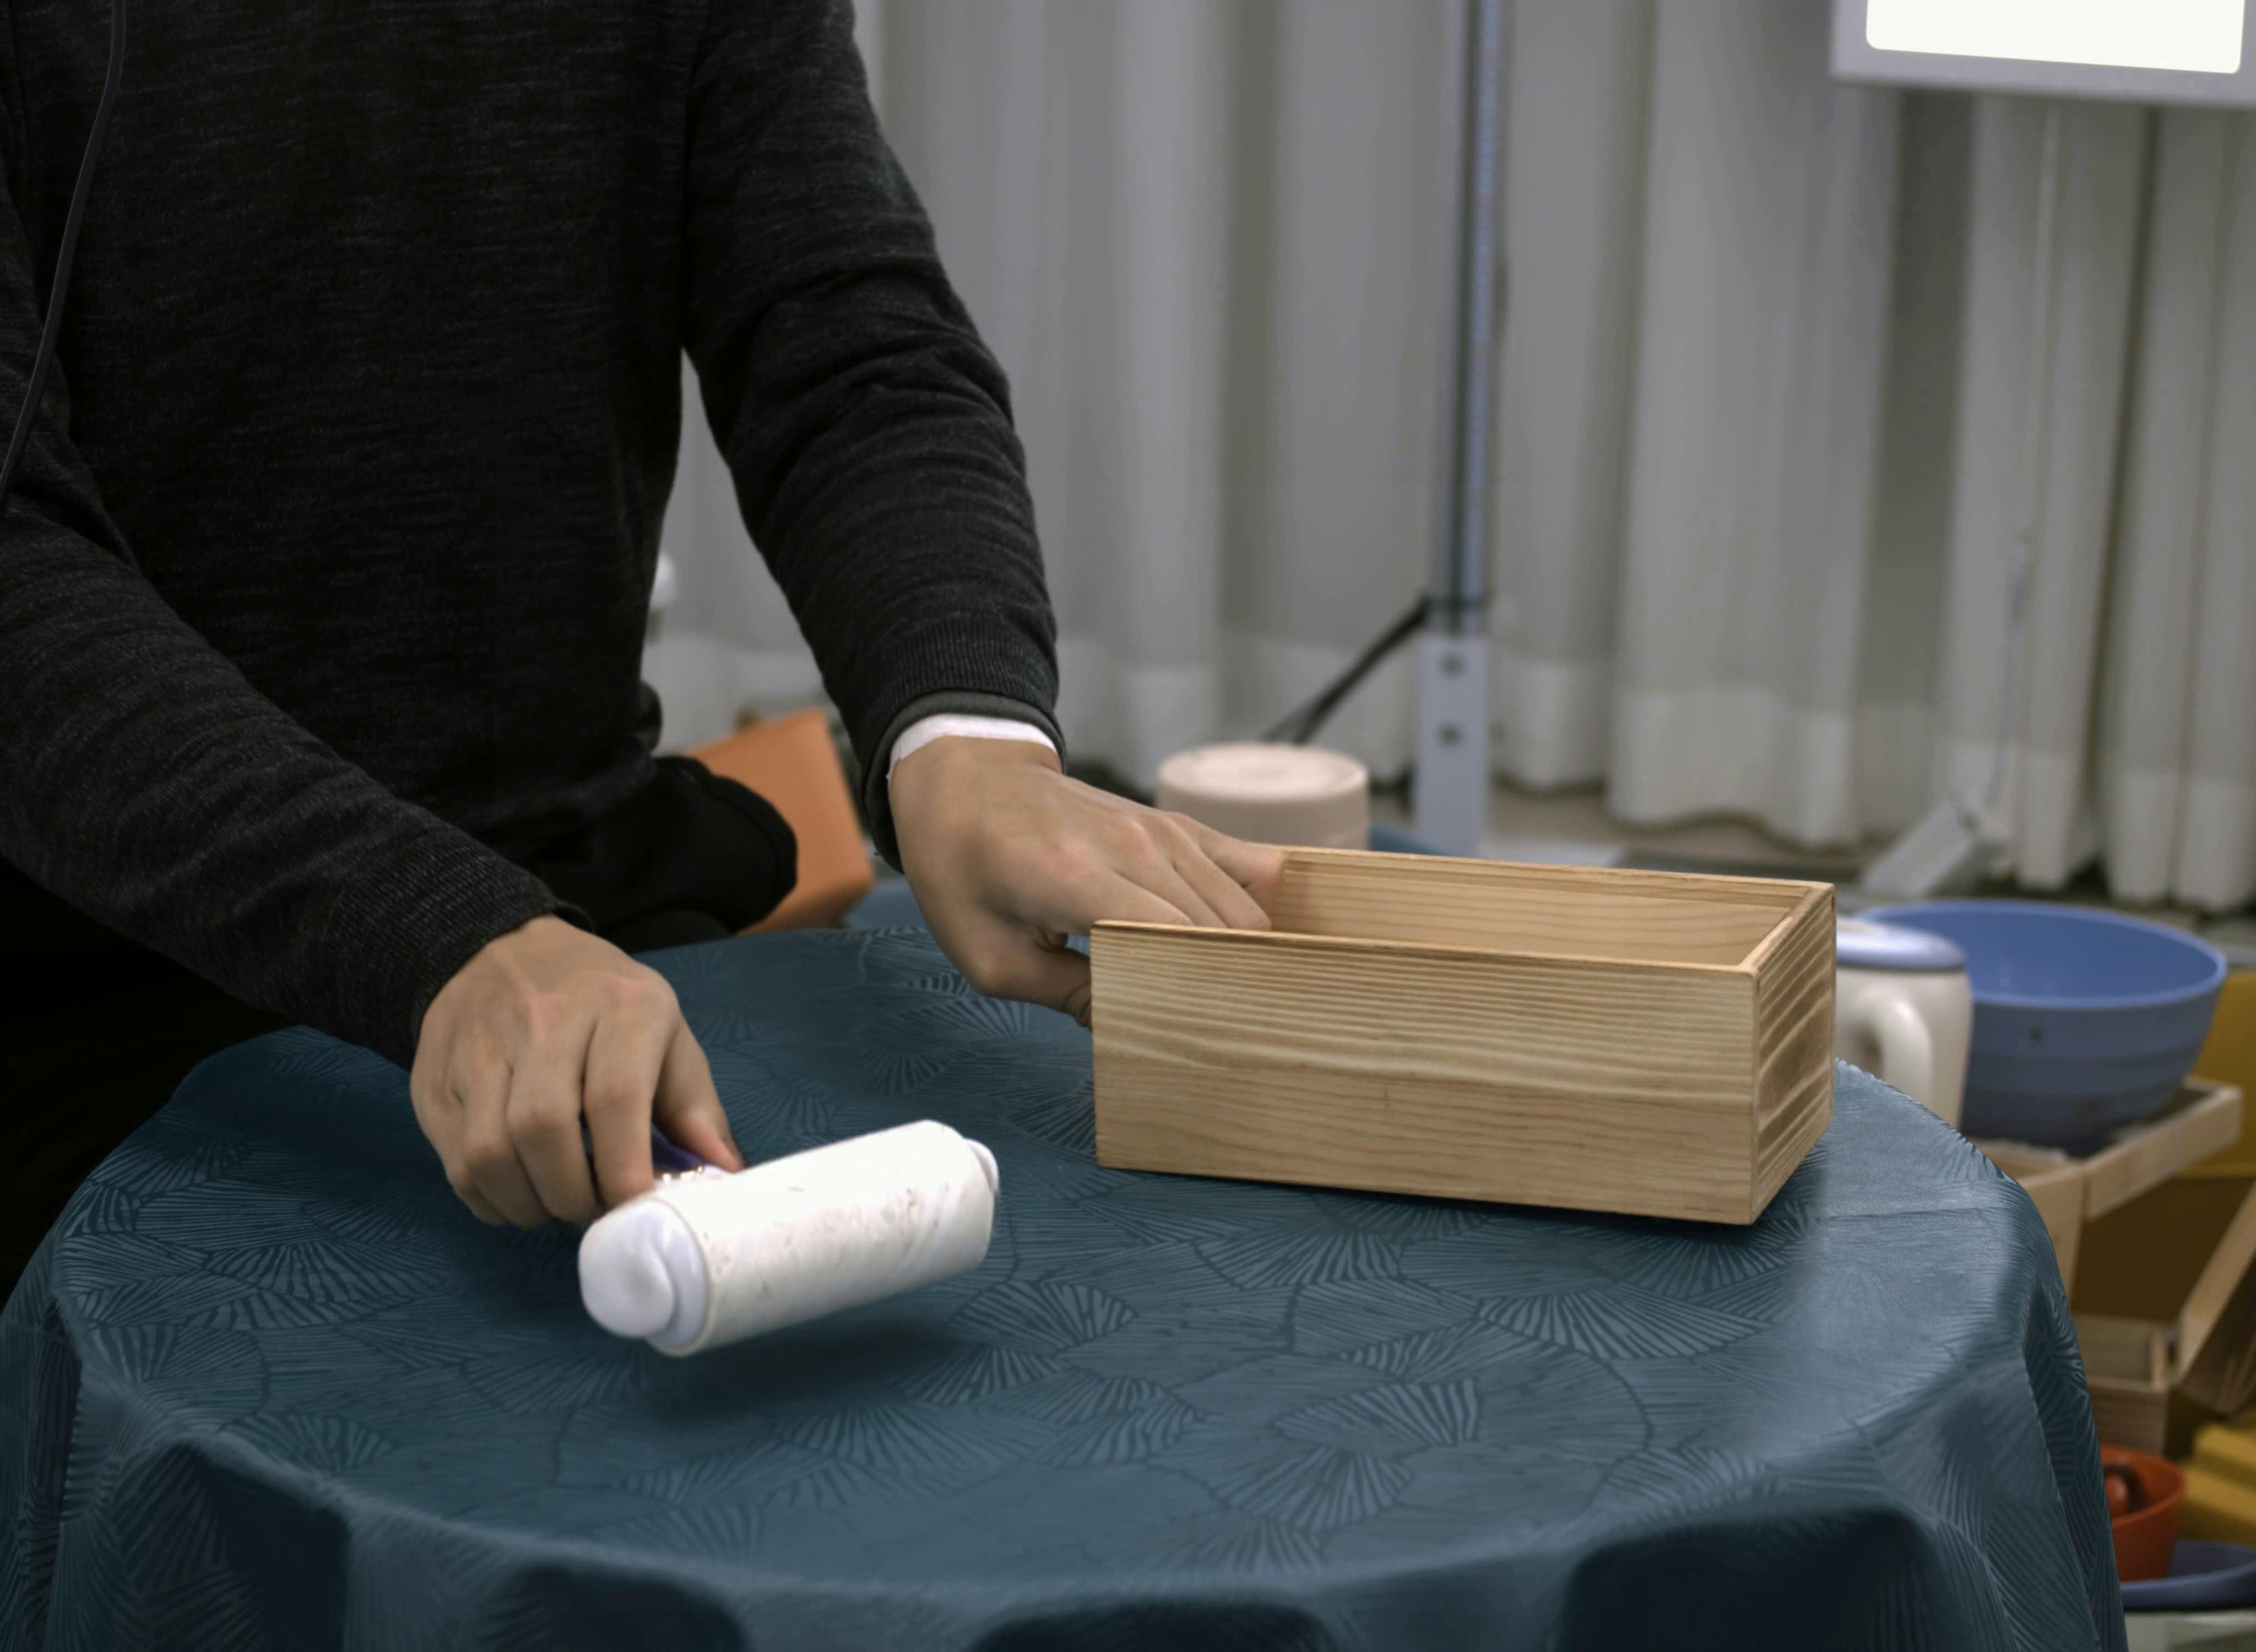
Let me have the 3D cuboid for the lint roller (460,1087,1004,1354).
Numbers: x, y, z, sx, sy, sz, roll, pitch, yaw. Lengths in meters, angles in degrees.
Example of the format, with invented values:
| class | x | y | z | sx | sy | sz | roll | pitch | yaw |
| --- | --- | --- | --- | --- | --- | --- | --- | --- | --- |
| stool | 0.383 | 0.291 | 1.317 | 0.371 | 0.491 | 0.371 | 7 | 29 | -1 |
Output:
| class | x | y | z | sx | sy | sz | roll | pitch | yaw |
| --- | --- | --- | --- | --- | --- | --- | --- | --- | --- |
| lint roller | -0.132 | 0.092 | 1.507 | 0.133 | 0.050 | 0.178 | -13 | 27 | -38 |

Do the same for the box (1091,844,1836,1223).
| class | x | y | z | sx | sy | sz | roll | pitch | yaw |
| --- | --- | --- | --- | --- | --- | --- | --- | --- | --- |
| box | 0.106 | 0.062 | 1.643 | 0.209 | 0.081 | 0.107 | 3 | 16 | 19 |
